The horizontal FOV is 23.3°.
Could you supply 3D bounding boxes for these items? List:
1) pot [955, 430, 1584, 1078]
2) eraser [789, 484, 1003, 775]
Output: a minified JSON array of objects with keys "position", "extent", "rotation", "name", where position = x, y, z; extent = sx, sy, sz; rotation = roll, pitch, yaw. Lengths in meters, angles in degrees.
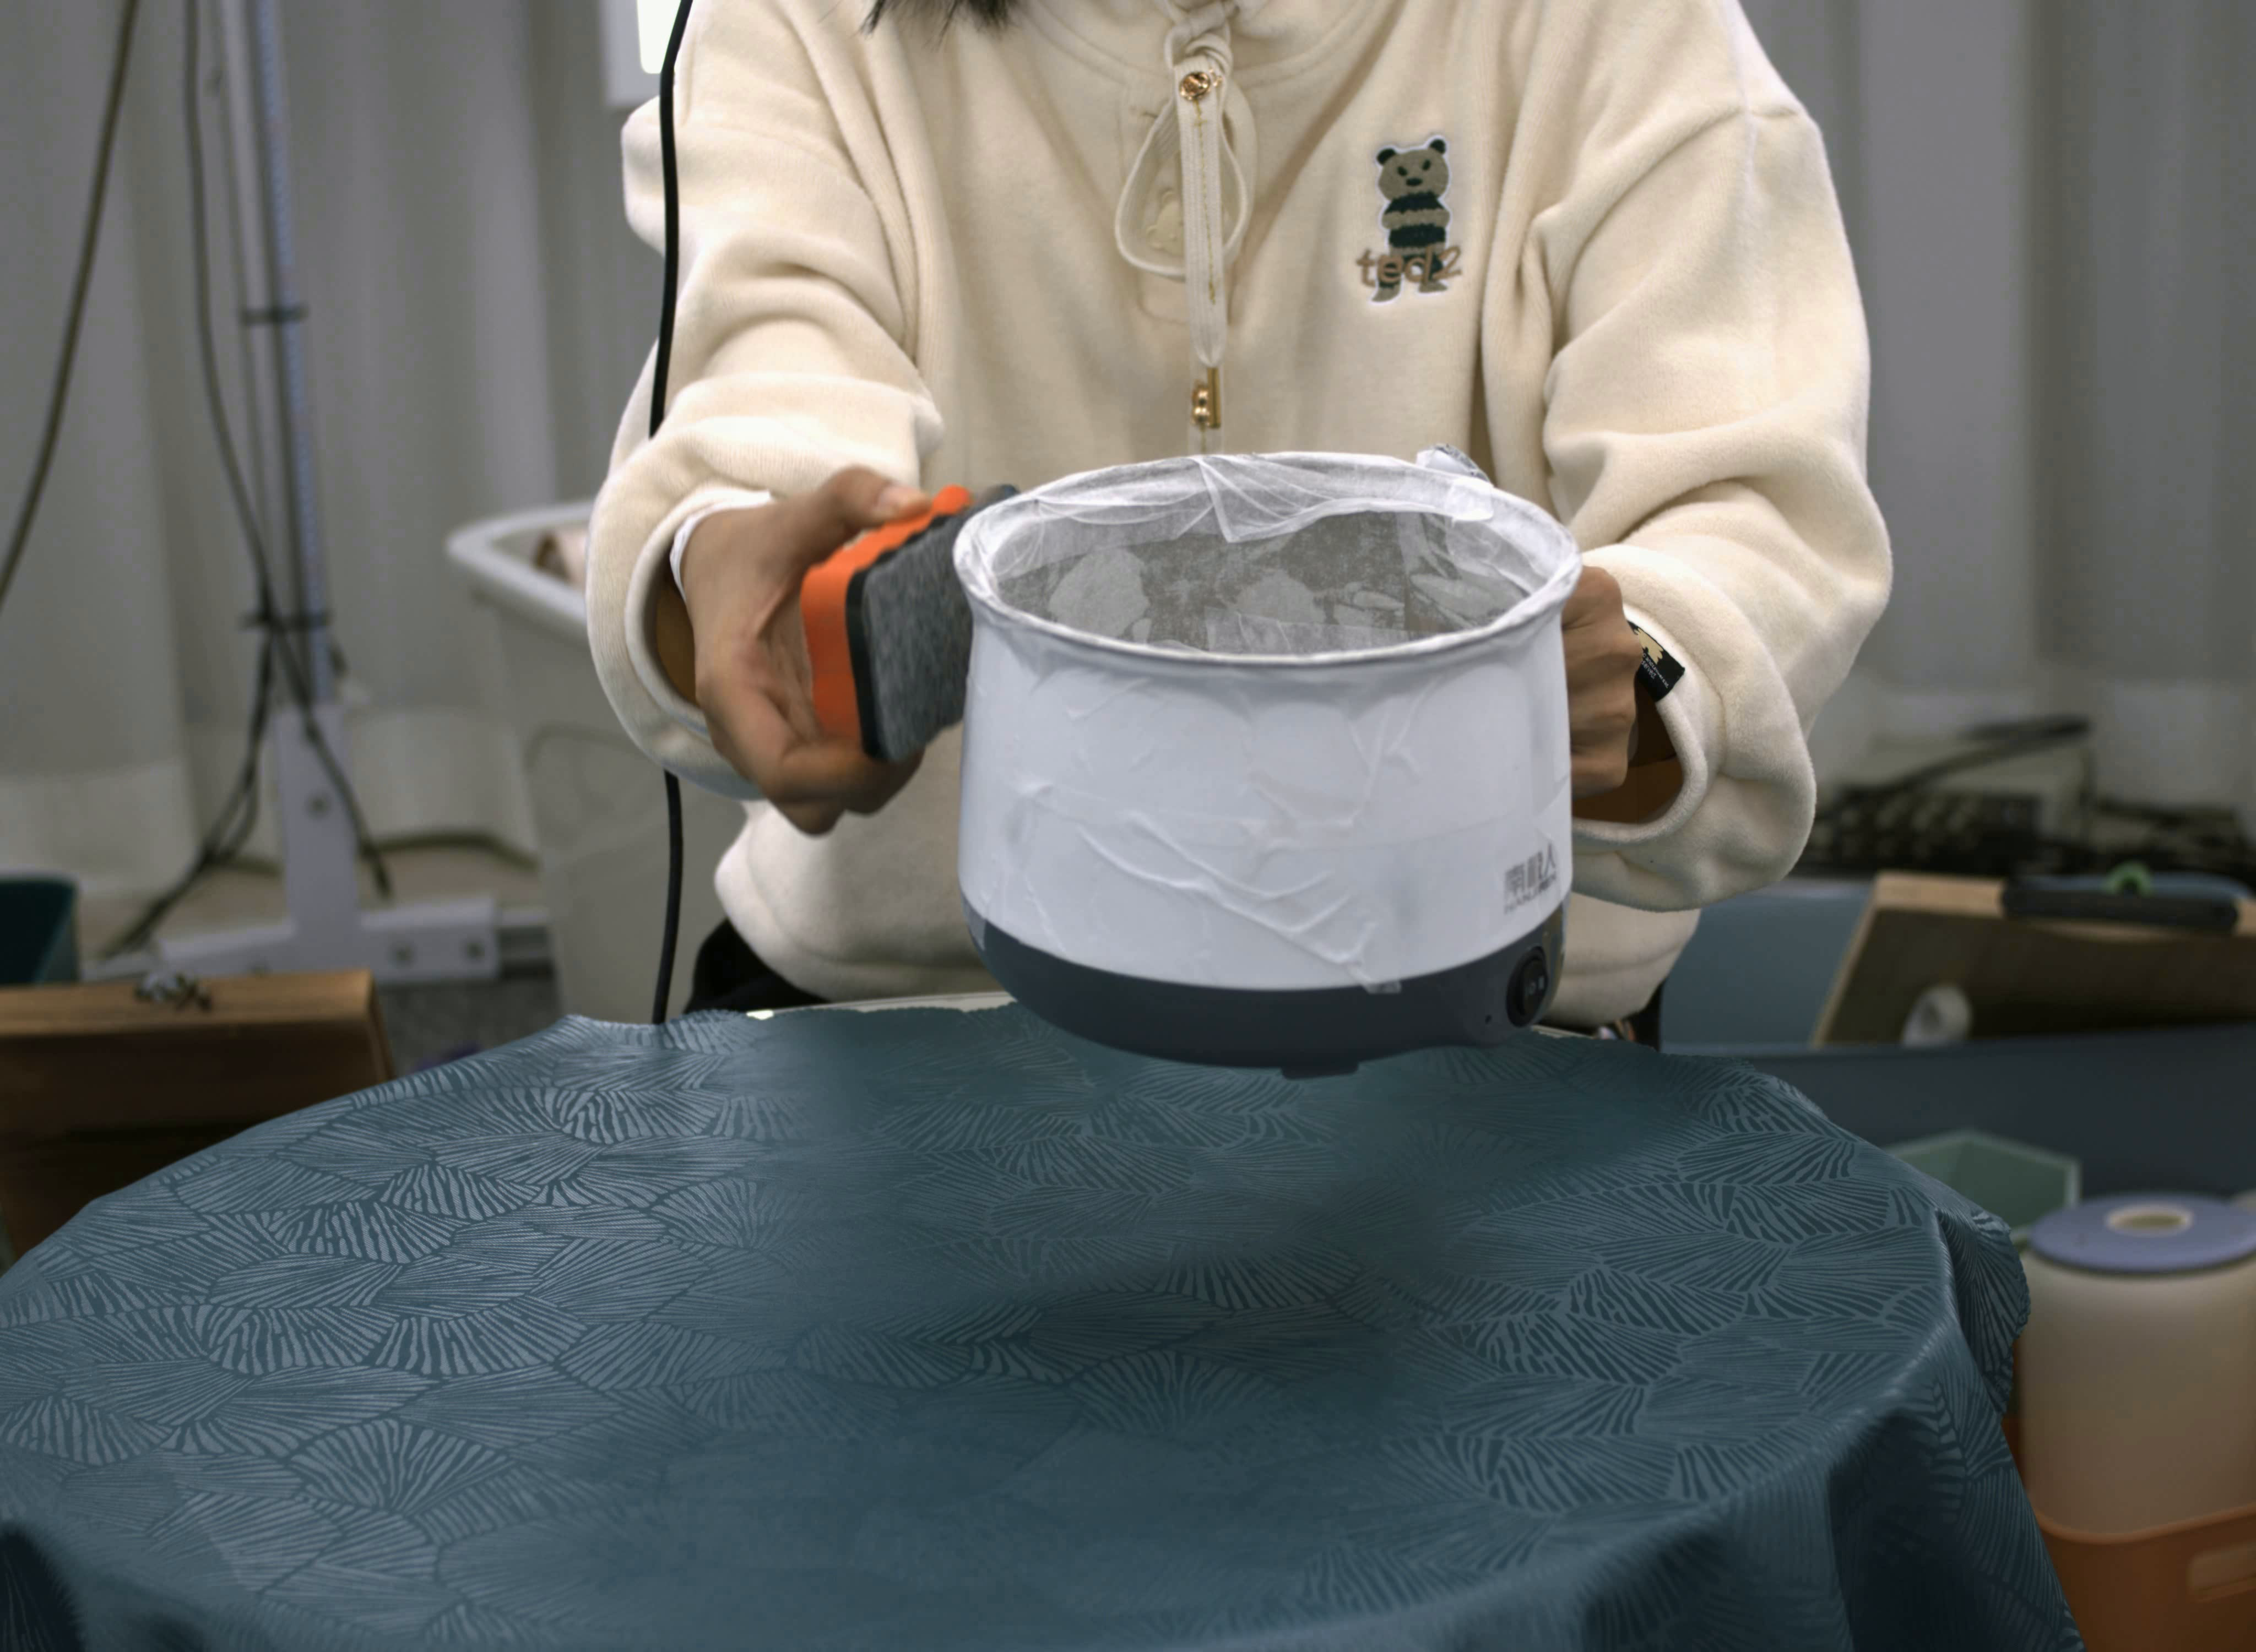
[{"position":[0.053,-0.030,1.578],"extent":[0.179,0.135,0.234],"rotation":[14,27,28],"name":"pot"},{"position":[-0.062,-0.058,1.589],"extent":[0.023,0.058,0.108],"rotation":[-3,19,24],"name":"eraser"}]
